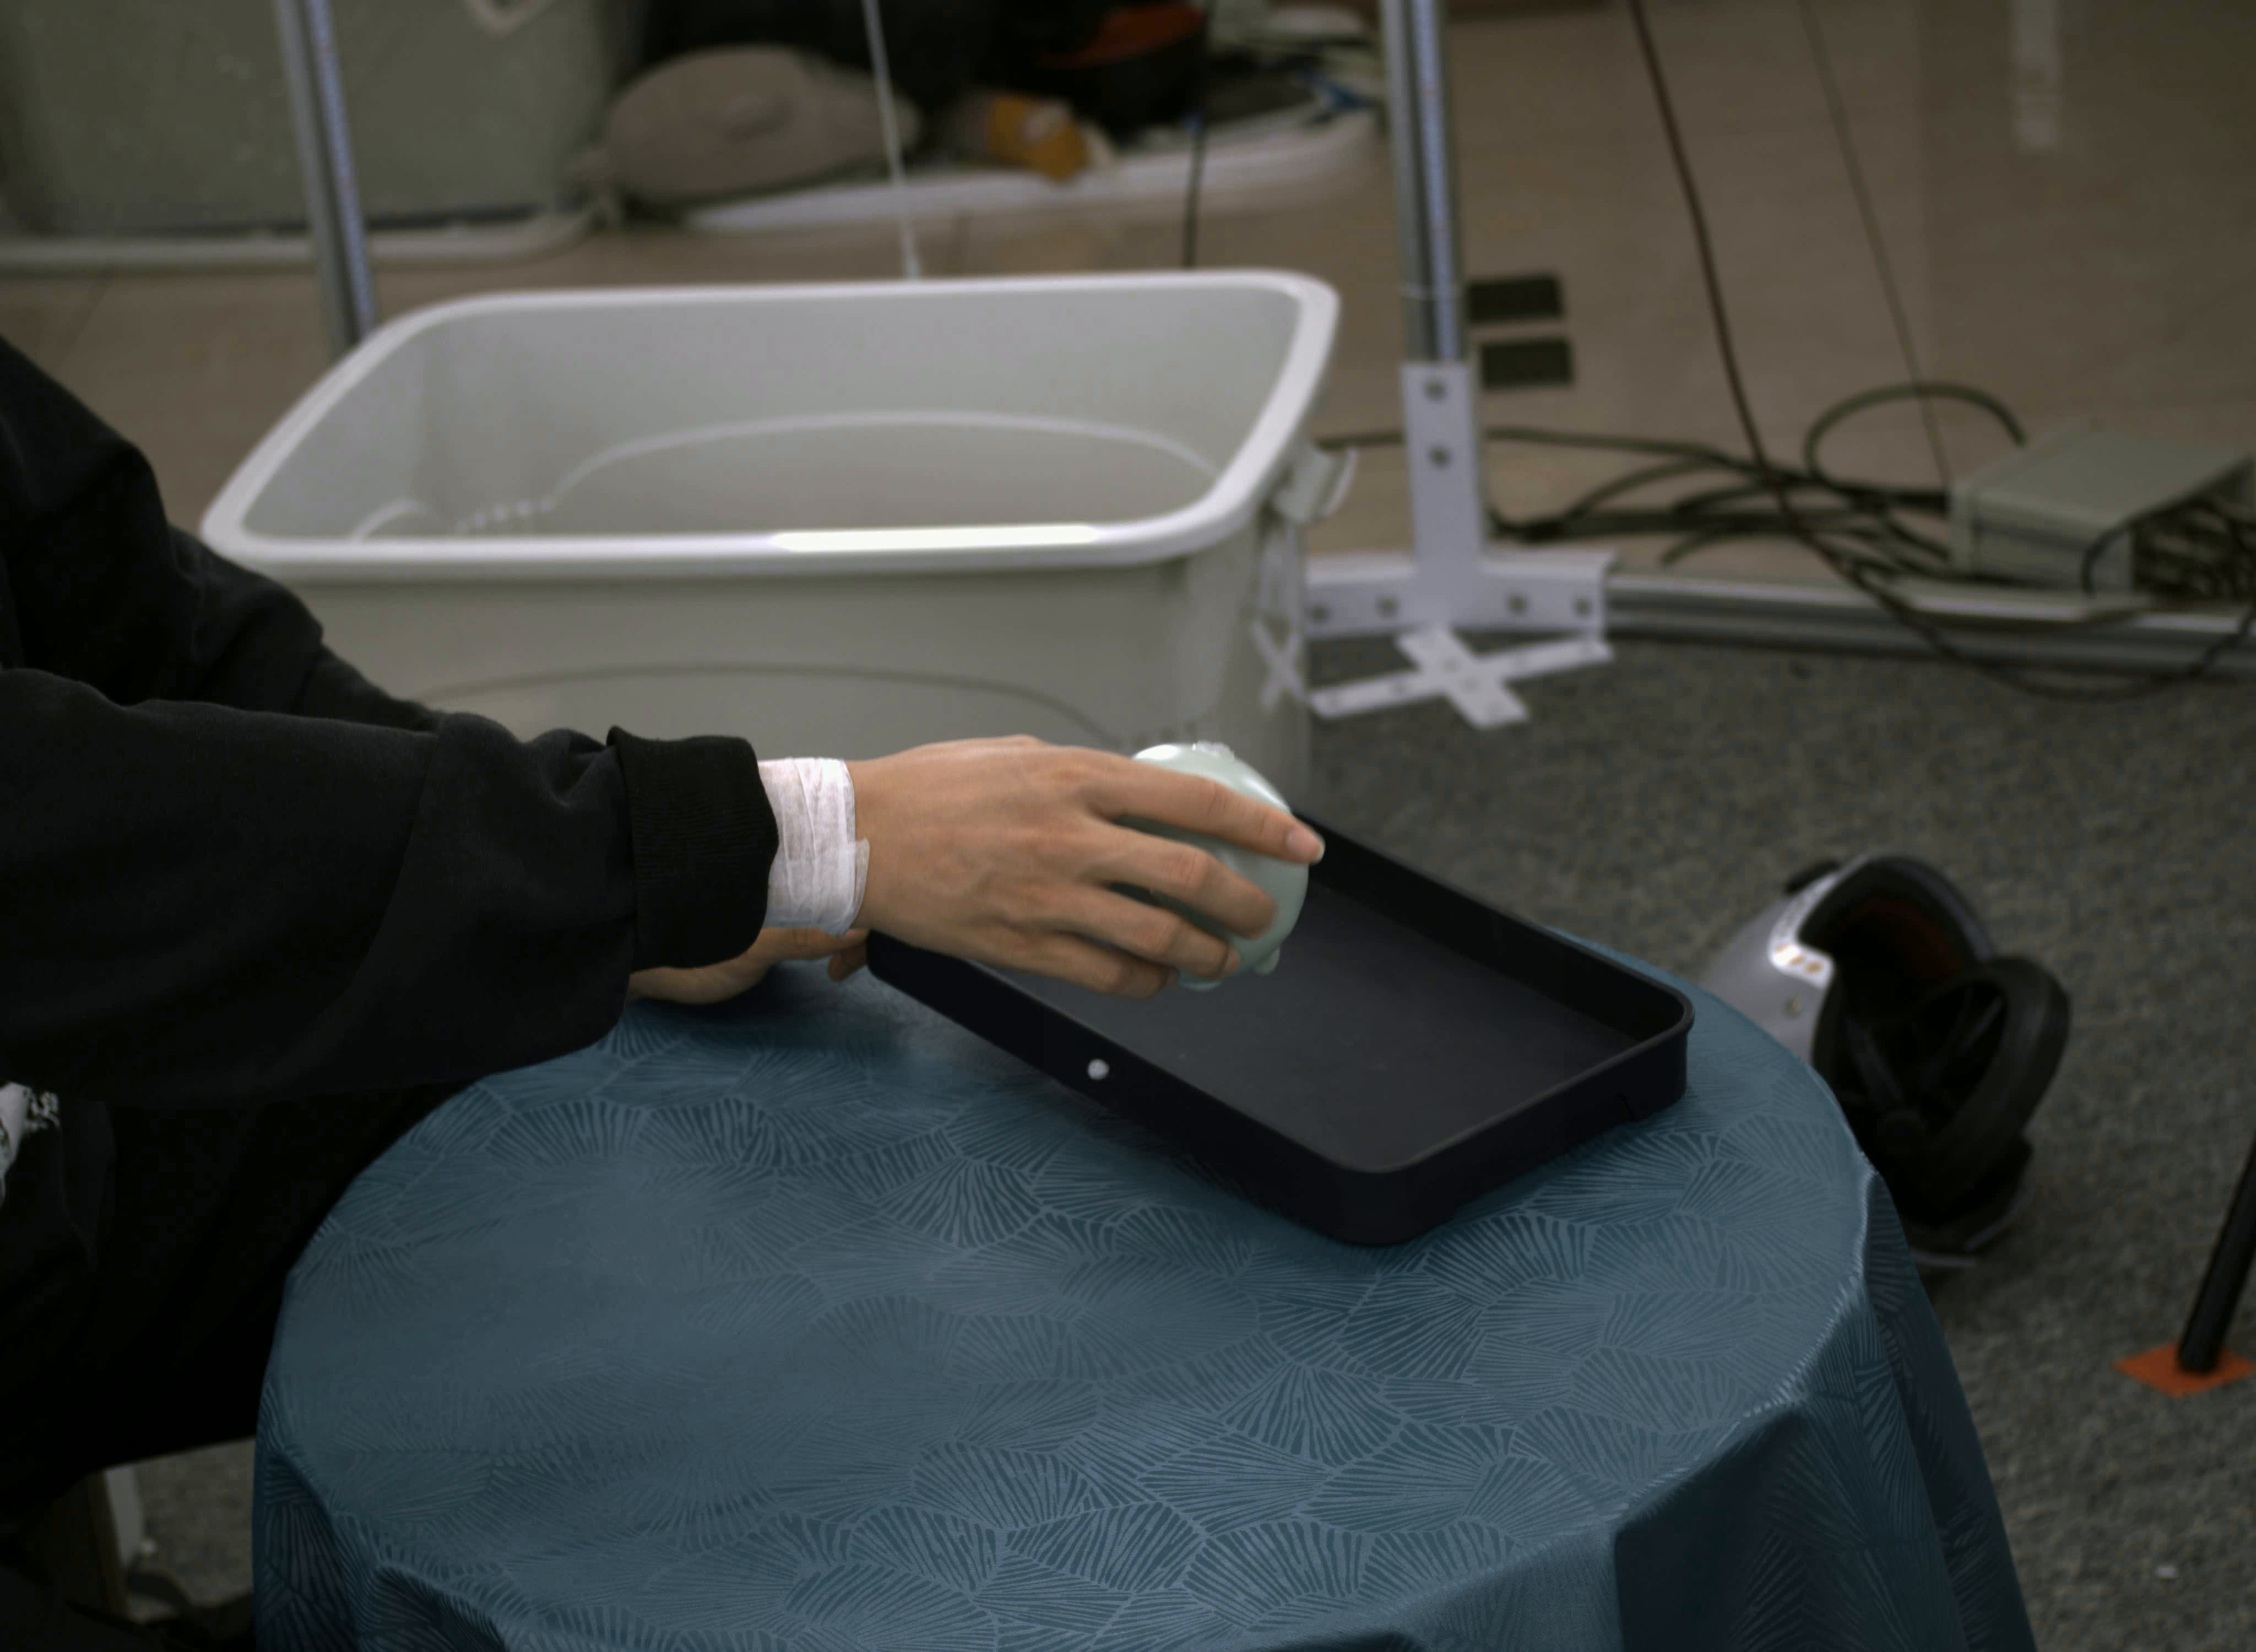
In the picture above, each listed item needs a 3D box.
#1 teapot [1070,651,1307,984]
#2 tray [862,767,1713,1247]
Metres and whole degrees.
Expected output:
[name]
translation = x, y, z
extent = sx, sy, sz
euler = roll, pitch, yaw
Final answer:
[teapot]
translation = 0.022, 0.010, 2.042
extent = 0.087, 0.146, 0.074
euler = 24, 46, 36
[tray]
translation = 0.059, 0.063, 2.219
extent = 0.183, 0.037, 0.315
euler = -24, 36, -37
